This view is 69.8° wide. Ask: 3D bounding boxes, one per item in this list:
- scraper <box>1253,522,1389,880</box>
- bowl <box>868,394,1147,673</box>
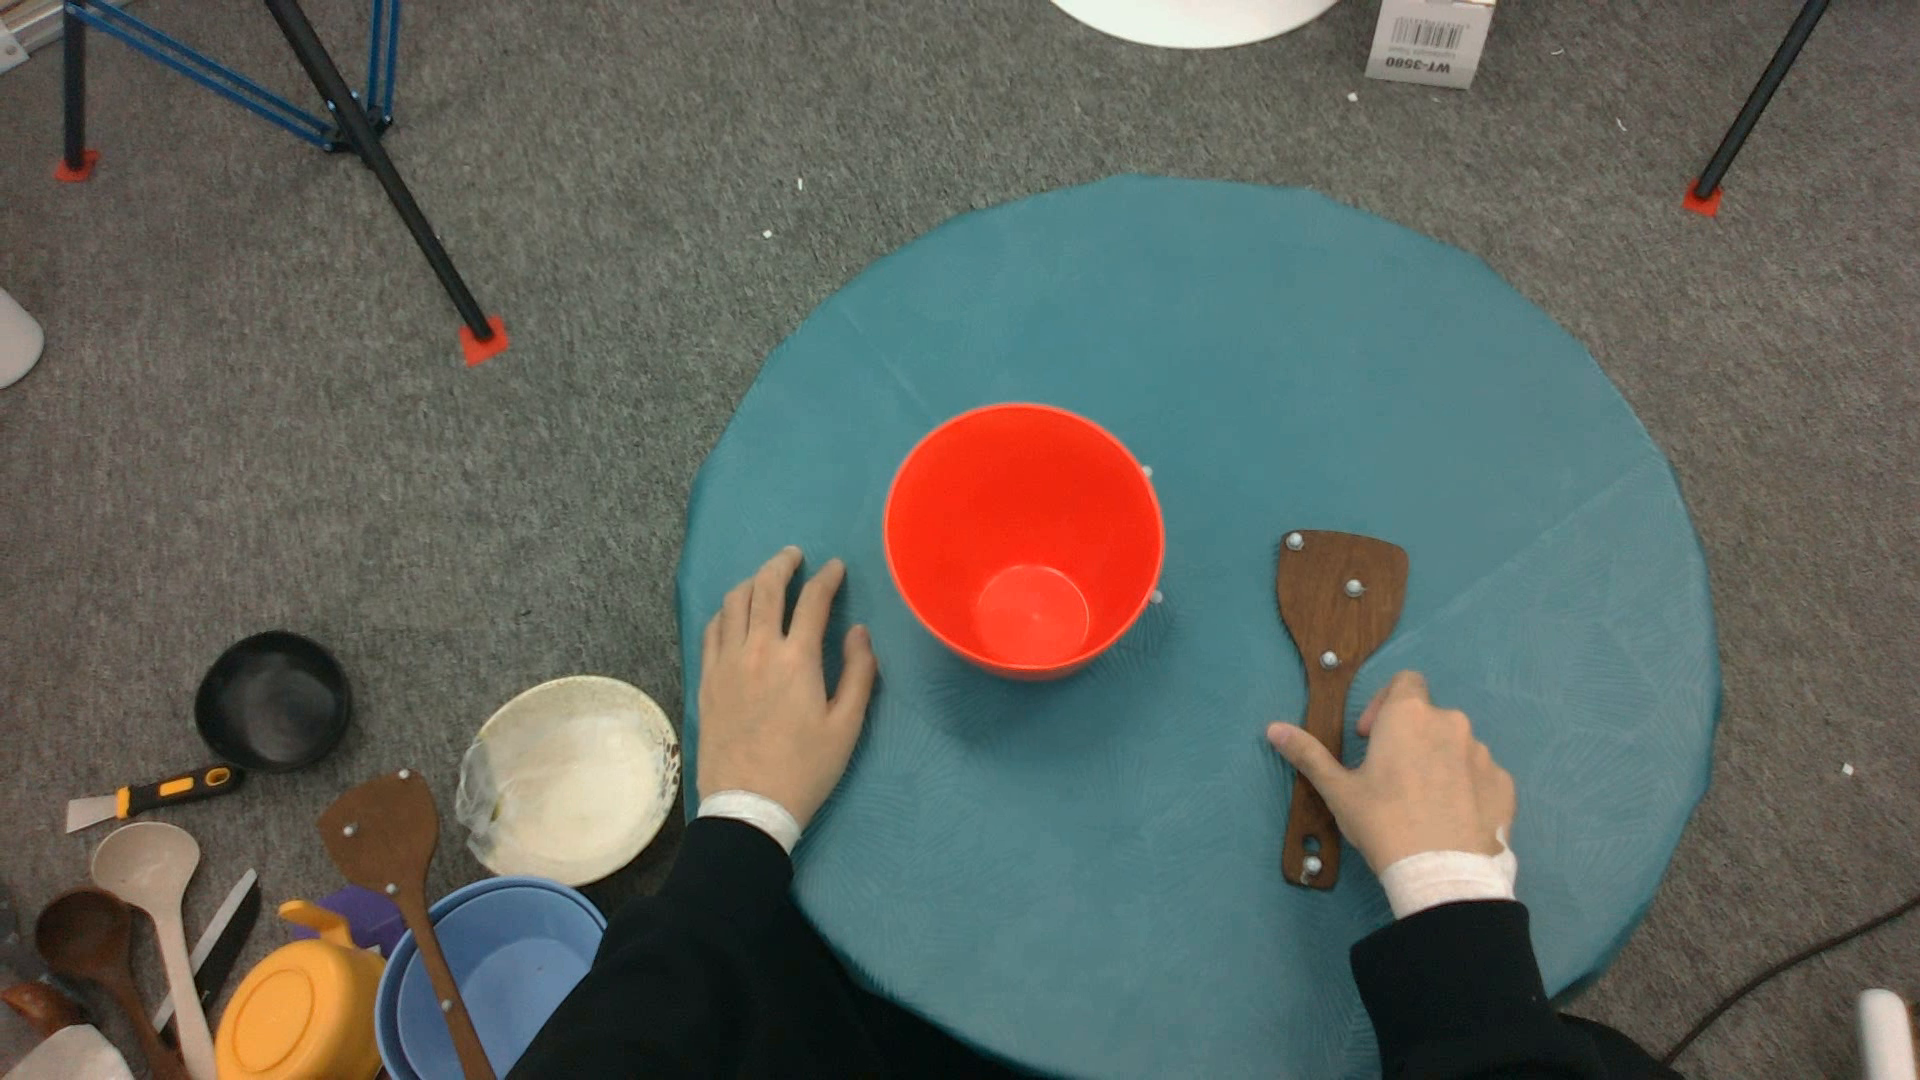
[{"bbox_3d":[0.192,0.085,0.765,0.076,0.011,0.212,10,63,8],"label":"scraper"},{"bbox_3d":[0.026,0.009,0.758,0.148,0.104,0.148,0,63,0],"label":"bowl"}]
